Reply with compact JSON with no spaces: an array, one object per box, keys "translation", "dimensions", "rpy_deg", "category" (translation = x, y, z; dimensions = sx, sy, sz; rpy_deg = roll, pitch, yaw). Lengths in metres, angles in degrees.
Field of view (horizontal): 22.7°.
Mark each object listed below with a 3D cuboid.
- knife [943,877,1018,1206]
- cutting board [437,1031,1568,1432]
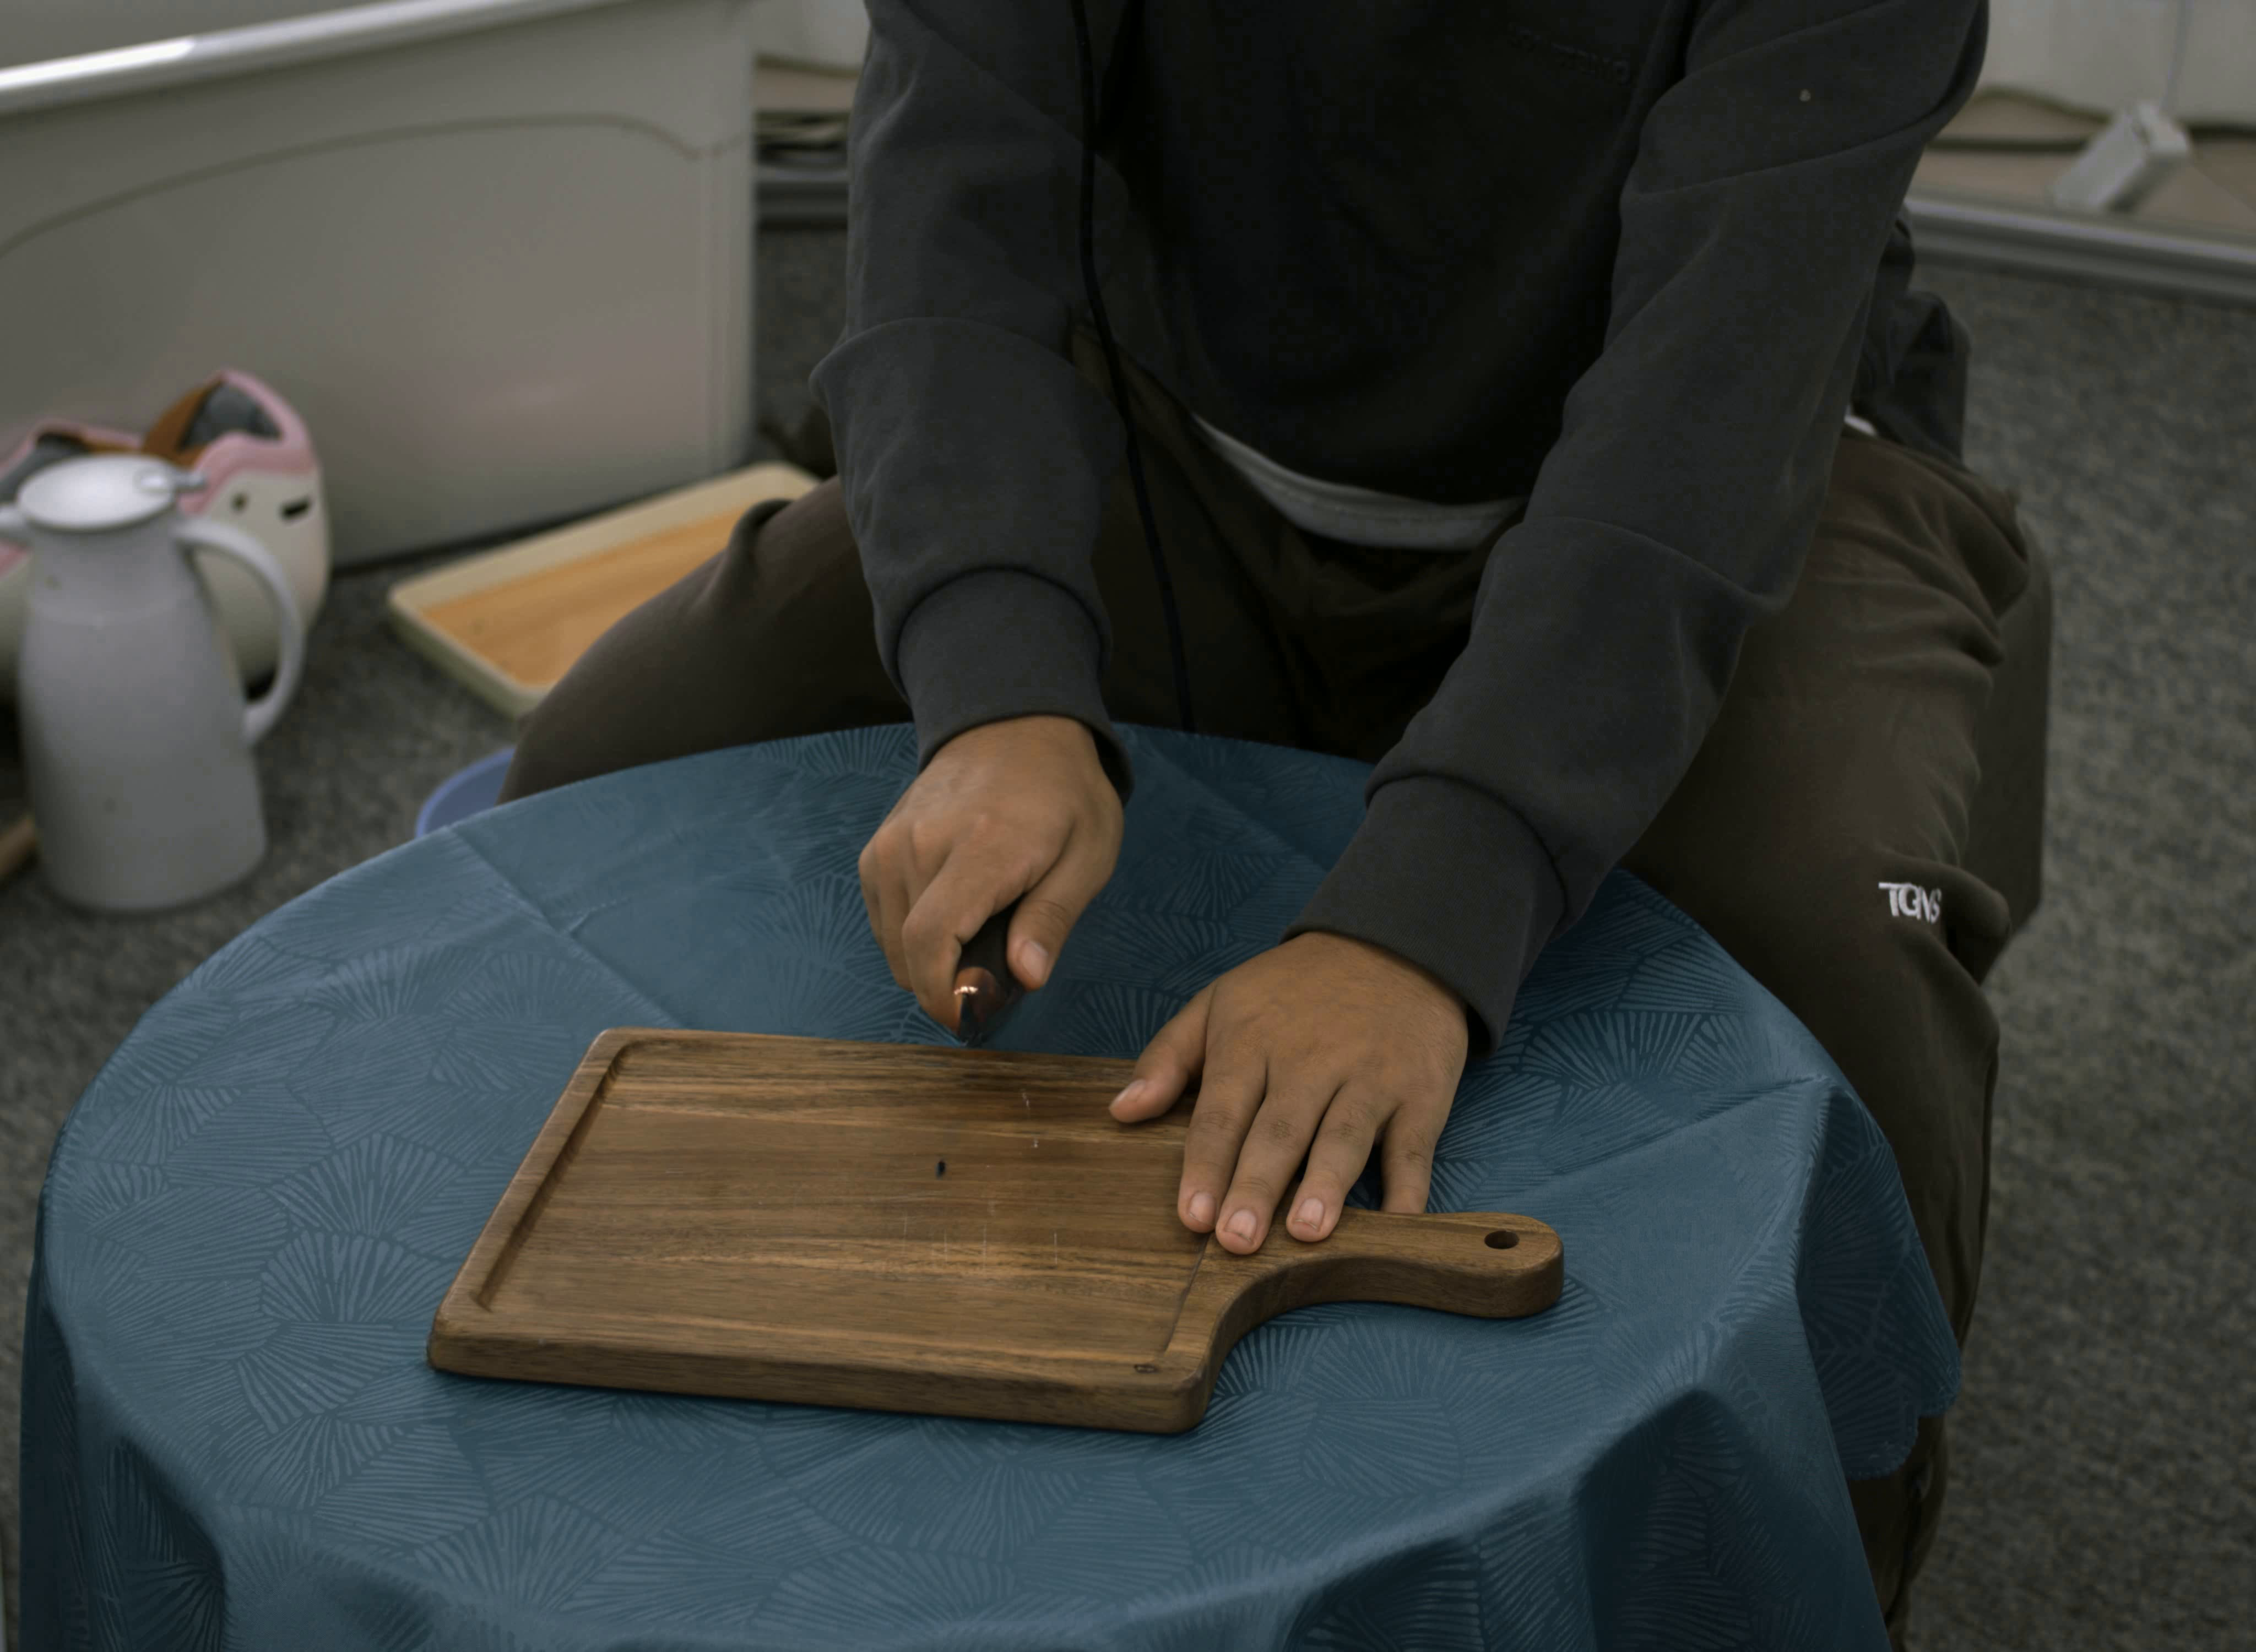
[{"translation":[-0.051,0.068,1.846],"dimensions":[0.017,0.026,0.228],"rpy_deg":[-14,21,9],"category":"knife"},{"translation":[-0.032,0.131,1.826],"dimensions":[0.350,0.023,0.204],"rpy_deg":[3,28,11],"category":"cutting board"}]
